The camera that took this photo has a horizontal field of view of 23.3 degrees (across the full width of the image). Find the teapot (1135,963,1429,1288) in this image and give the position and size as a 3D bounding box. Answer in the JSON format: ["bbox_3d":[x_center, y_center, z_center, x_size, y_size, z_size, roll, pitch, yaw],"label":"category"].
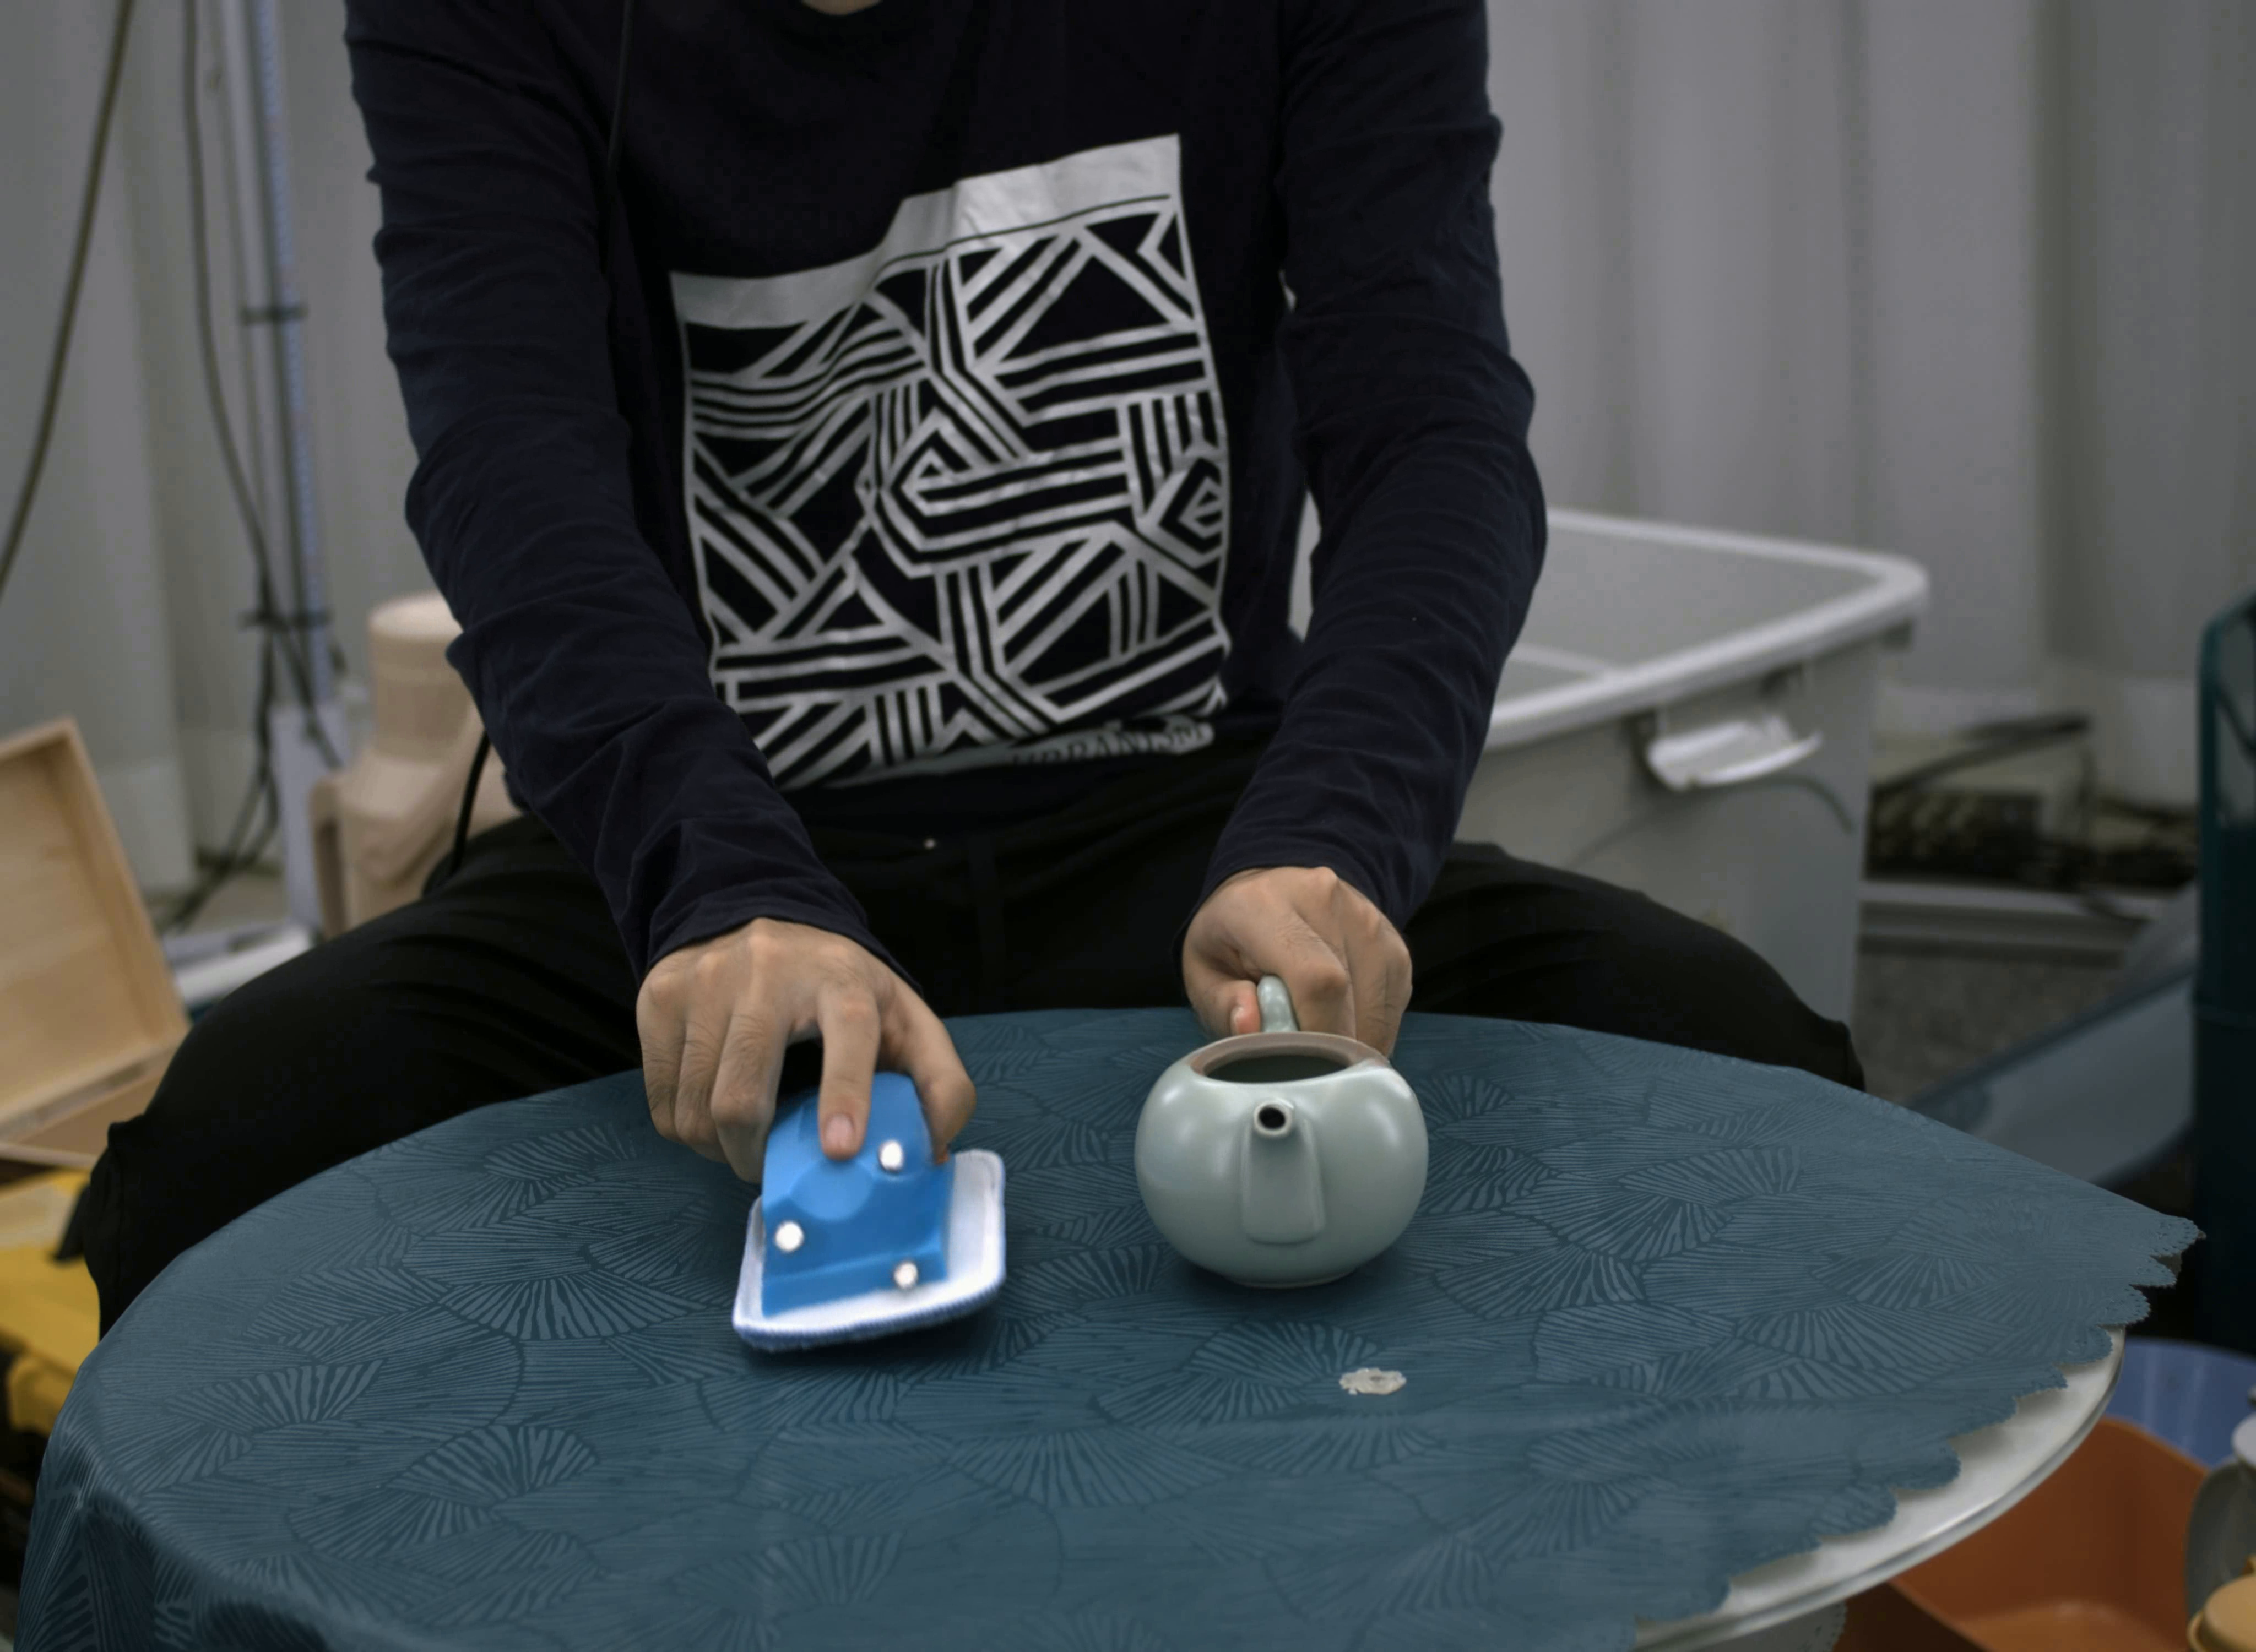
[{"bbox_3d":[0.046,0.096,1.632,0.088,0.074,0.145,-2,18,6],"label":"teapot"}]

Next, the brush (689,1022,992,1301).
[{"bbox_3d":[-0.086,0.097,1.633,0.083,0.055,0.145,-5,18,-8],"label":"brush"}]
